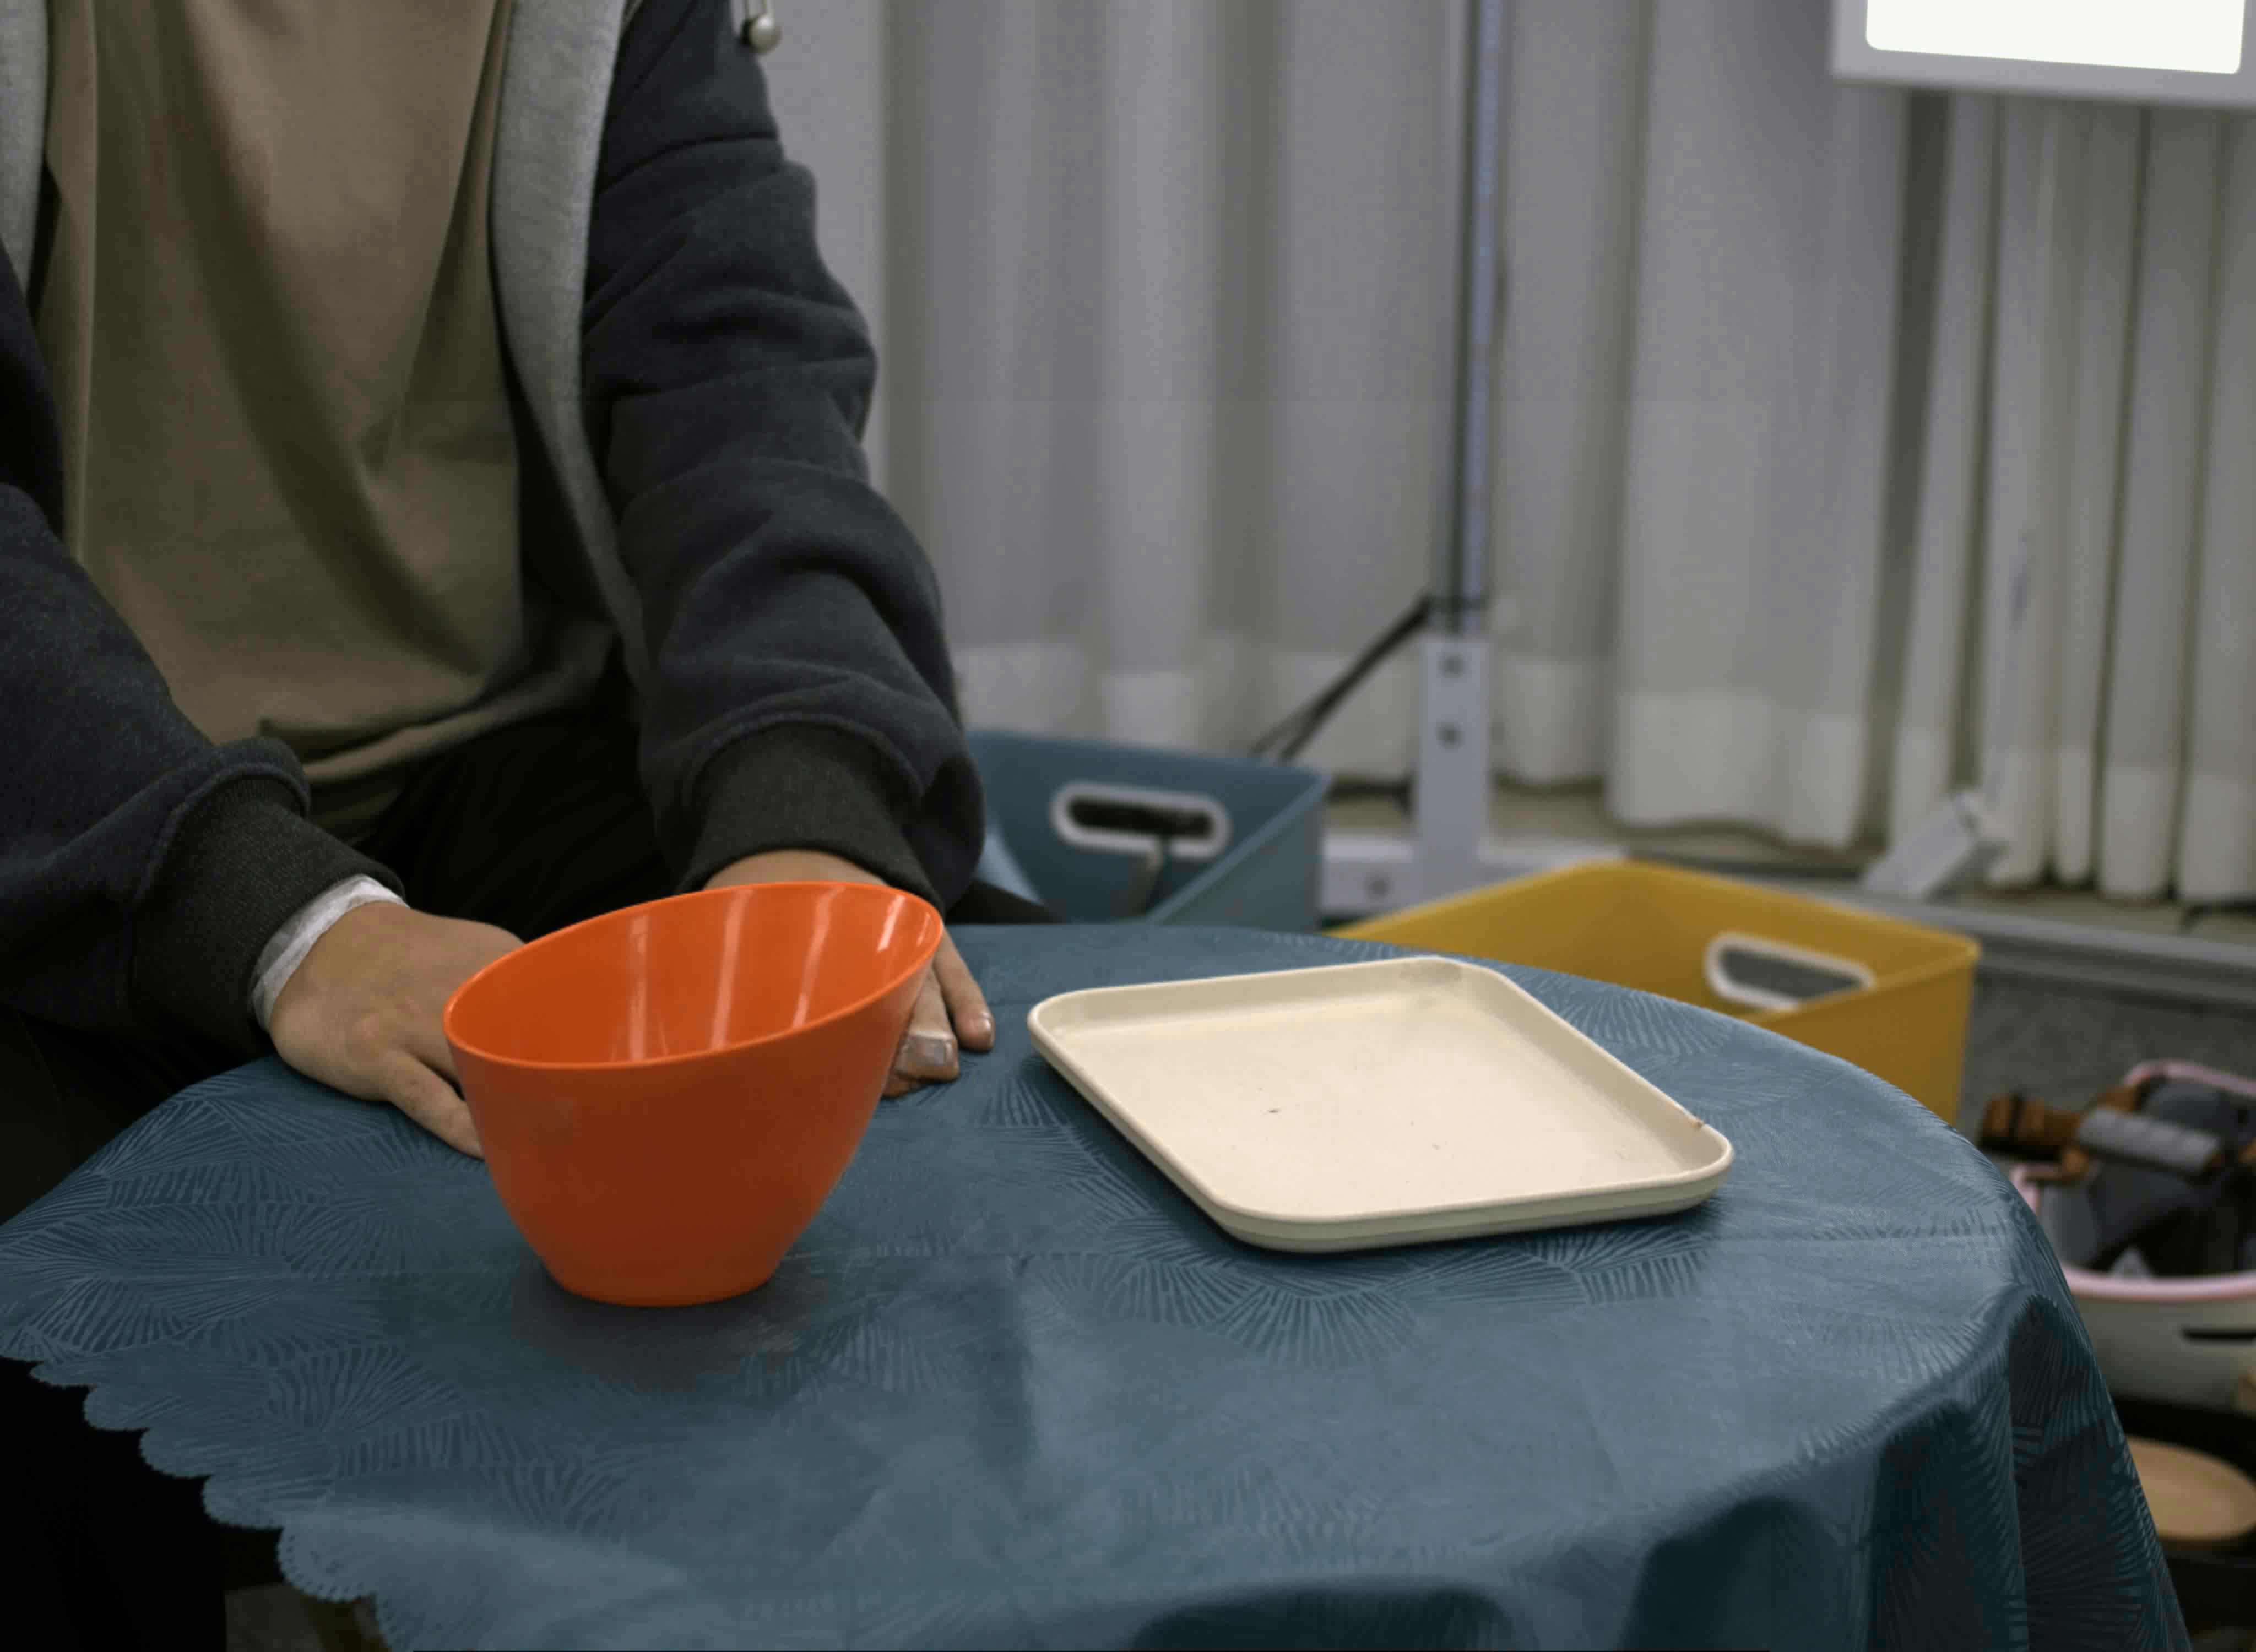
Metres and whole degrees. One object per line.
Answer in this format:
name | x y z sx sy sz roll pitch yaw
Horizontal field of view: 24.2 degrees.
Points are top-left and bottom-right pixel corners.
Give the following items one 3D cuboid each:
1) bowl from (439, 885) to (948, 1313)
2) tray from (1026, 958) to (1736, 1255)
bowl | -0.126 0.082 1.538 0.147 0.105 0.147 1 16 0
tray | 0.076 0.088 1.680 0.171 0.017 0.237 -5 17 -18
